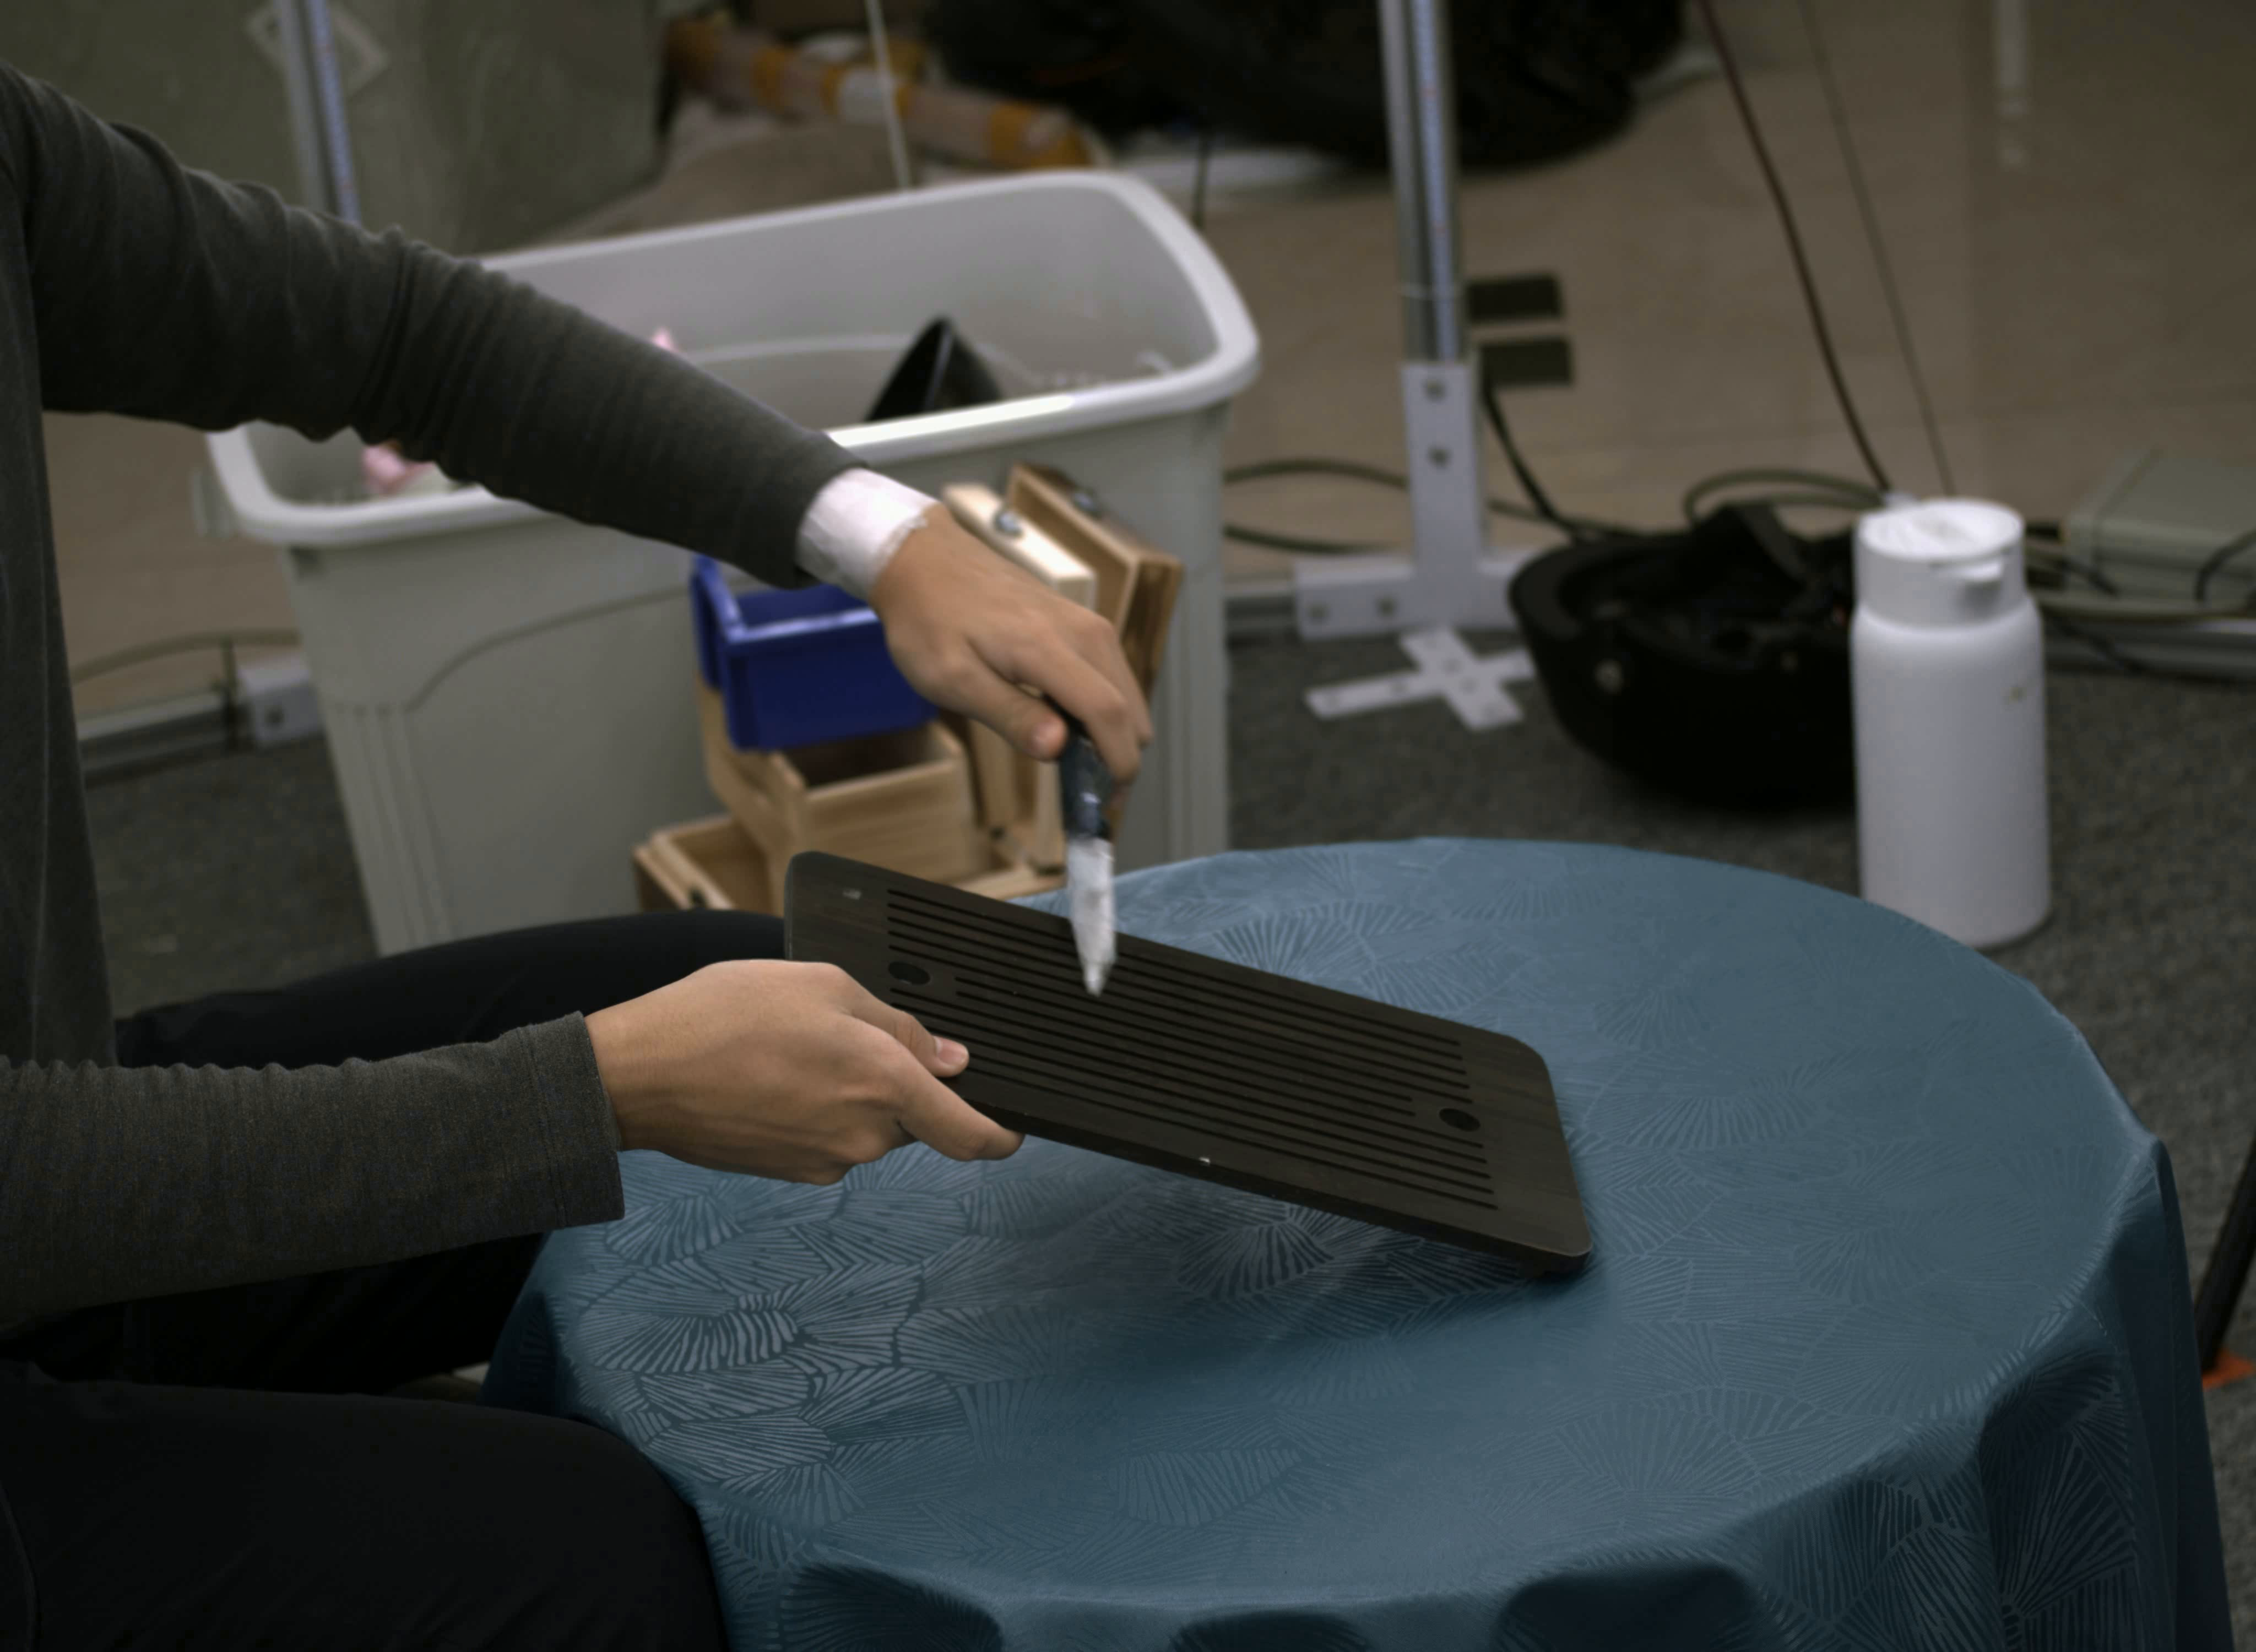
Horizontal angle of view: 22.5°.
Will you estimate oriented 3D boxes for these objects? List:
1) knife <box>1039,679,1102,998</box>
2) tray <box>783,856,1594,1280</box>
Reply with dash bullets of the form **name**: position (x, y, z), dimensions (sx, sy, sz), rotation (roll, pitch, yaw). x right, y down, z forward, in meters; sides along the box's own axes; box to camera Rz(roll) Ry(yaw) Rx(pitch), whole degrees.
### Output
- **knife**: position (-0.023, 0.003, 2.206), dimensions (0.024, 0.016, 0.234), rotation (31, 25, -19)
- **tray**: position (0.019, 0.090, 2.094), dimensions (0.306, 0.019, 0.167), rotation (15, 24, -11)
